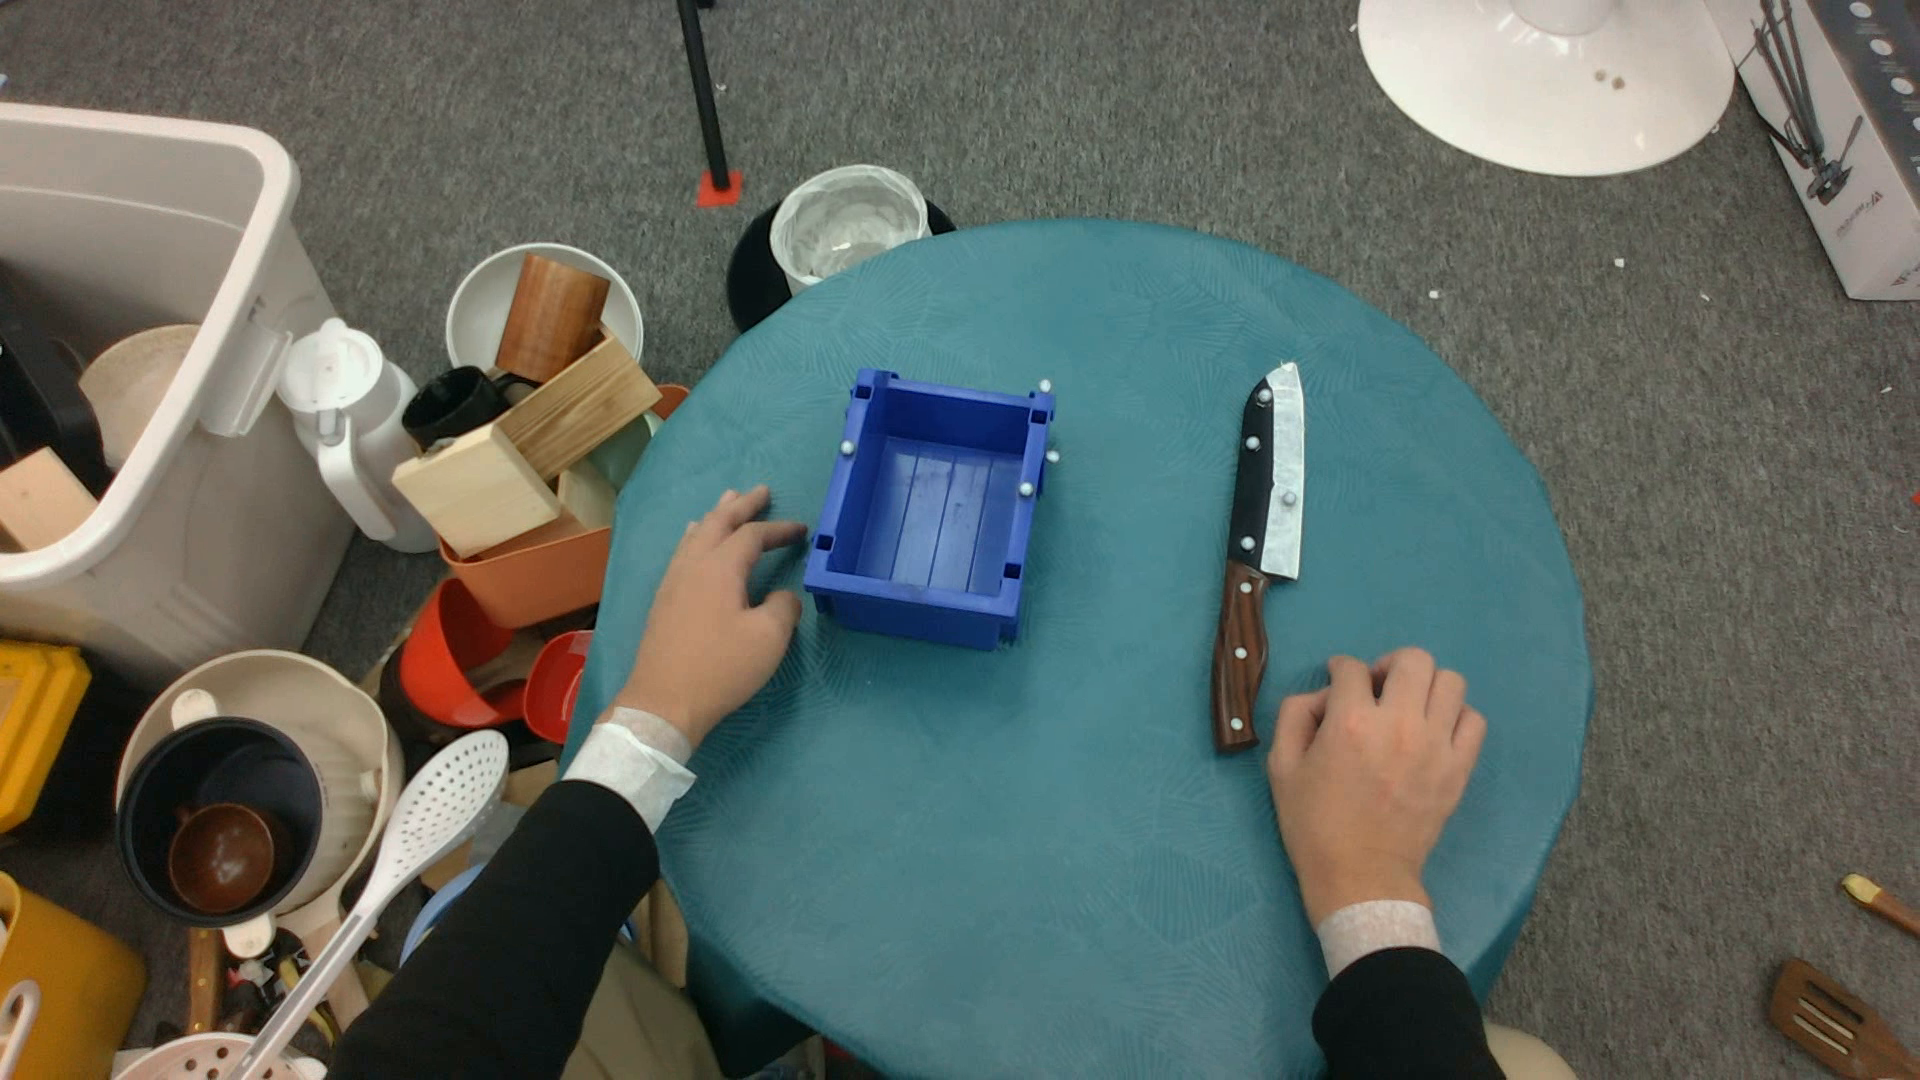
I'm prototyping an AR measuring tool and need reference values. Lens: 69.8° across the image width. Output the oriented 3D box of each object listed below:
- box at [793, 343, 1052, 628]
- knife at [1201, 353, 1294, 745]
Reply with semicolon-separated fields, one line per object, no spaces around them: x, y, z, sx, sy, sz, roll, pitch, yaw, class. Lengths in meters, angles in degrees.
-0.019;-0.040;0.833;0.124;0.081;0.180;10;64;6;box
0.180;-0.005;0.852;0.050;0.020;0.290;14;60;2;knife
